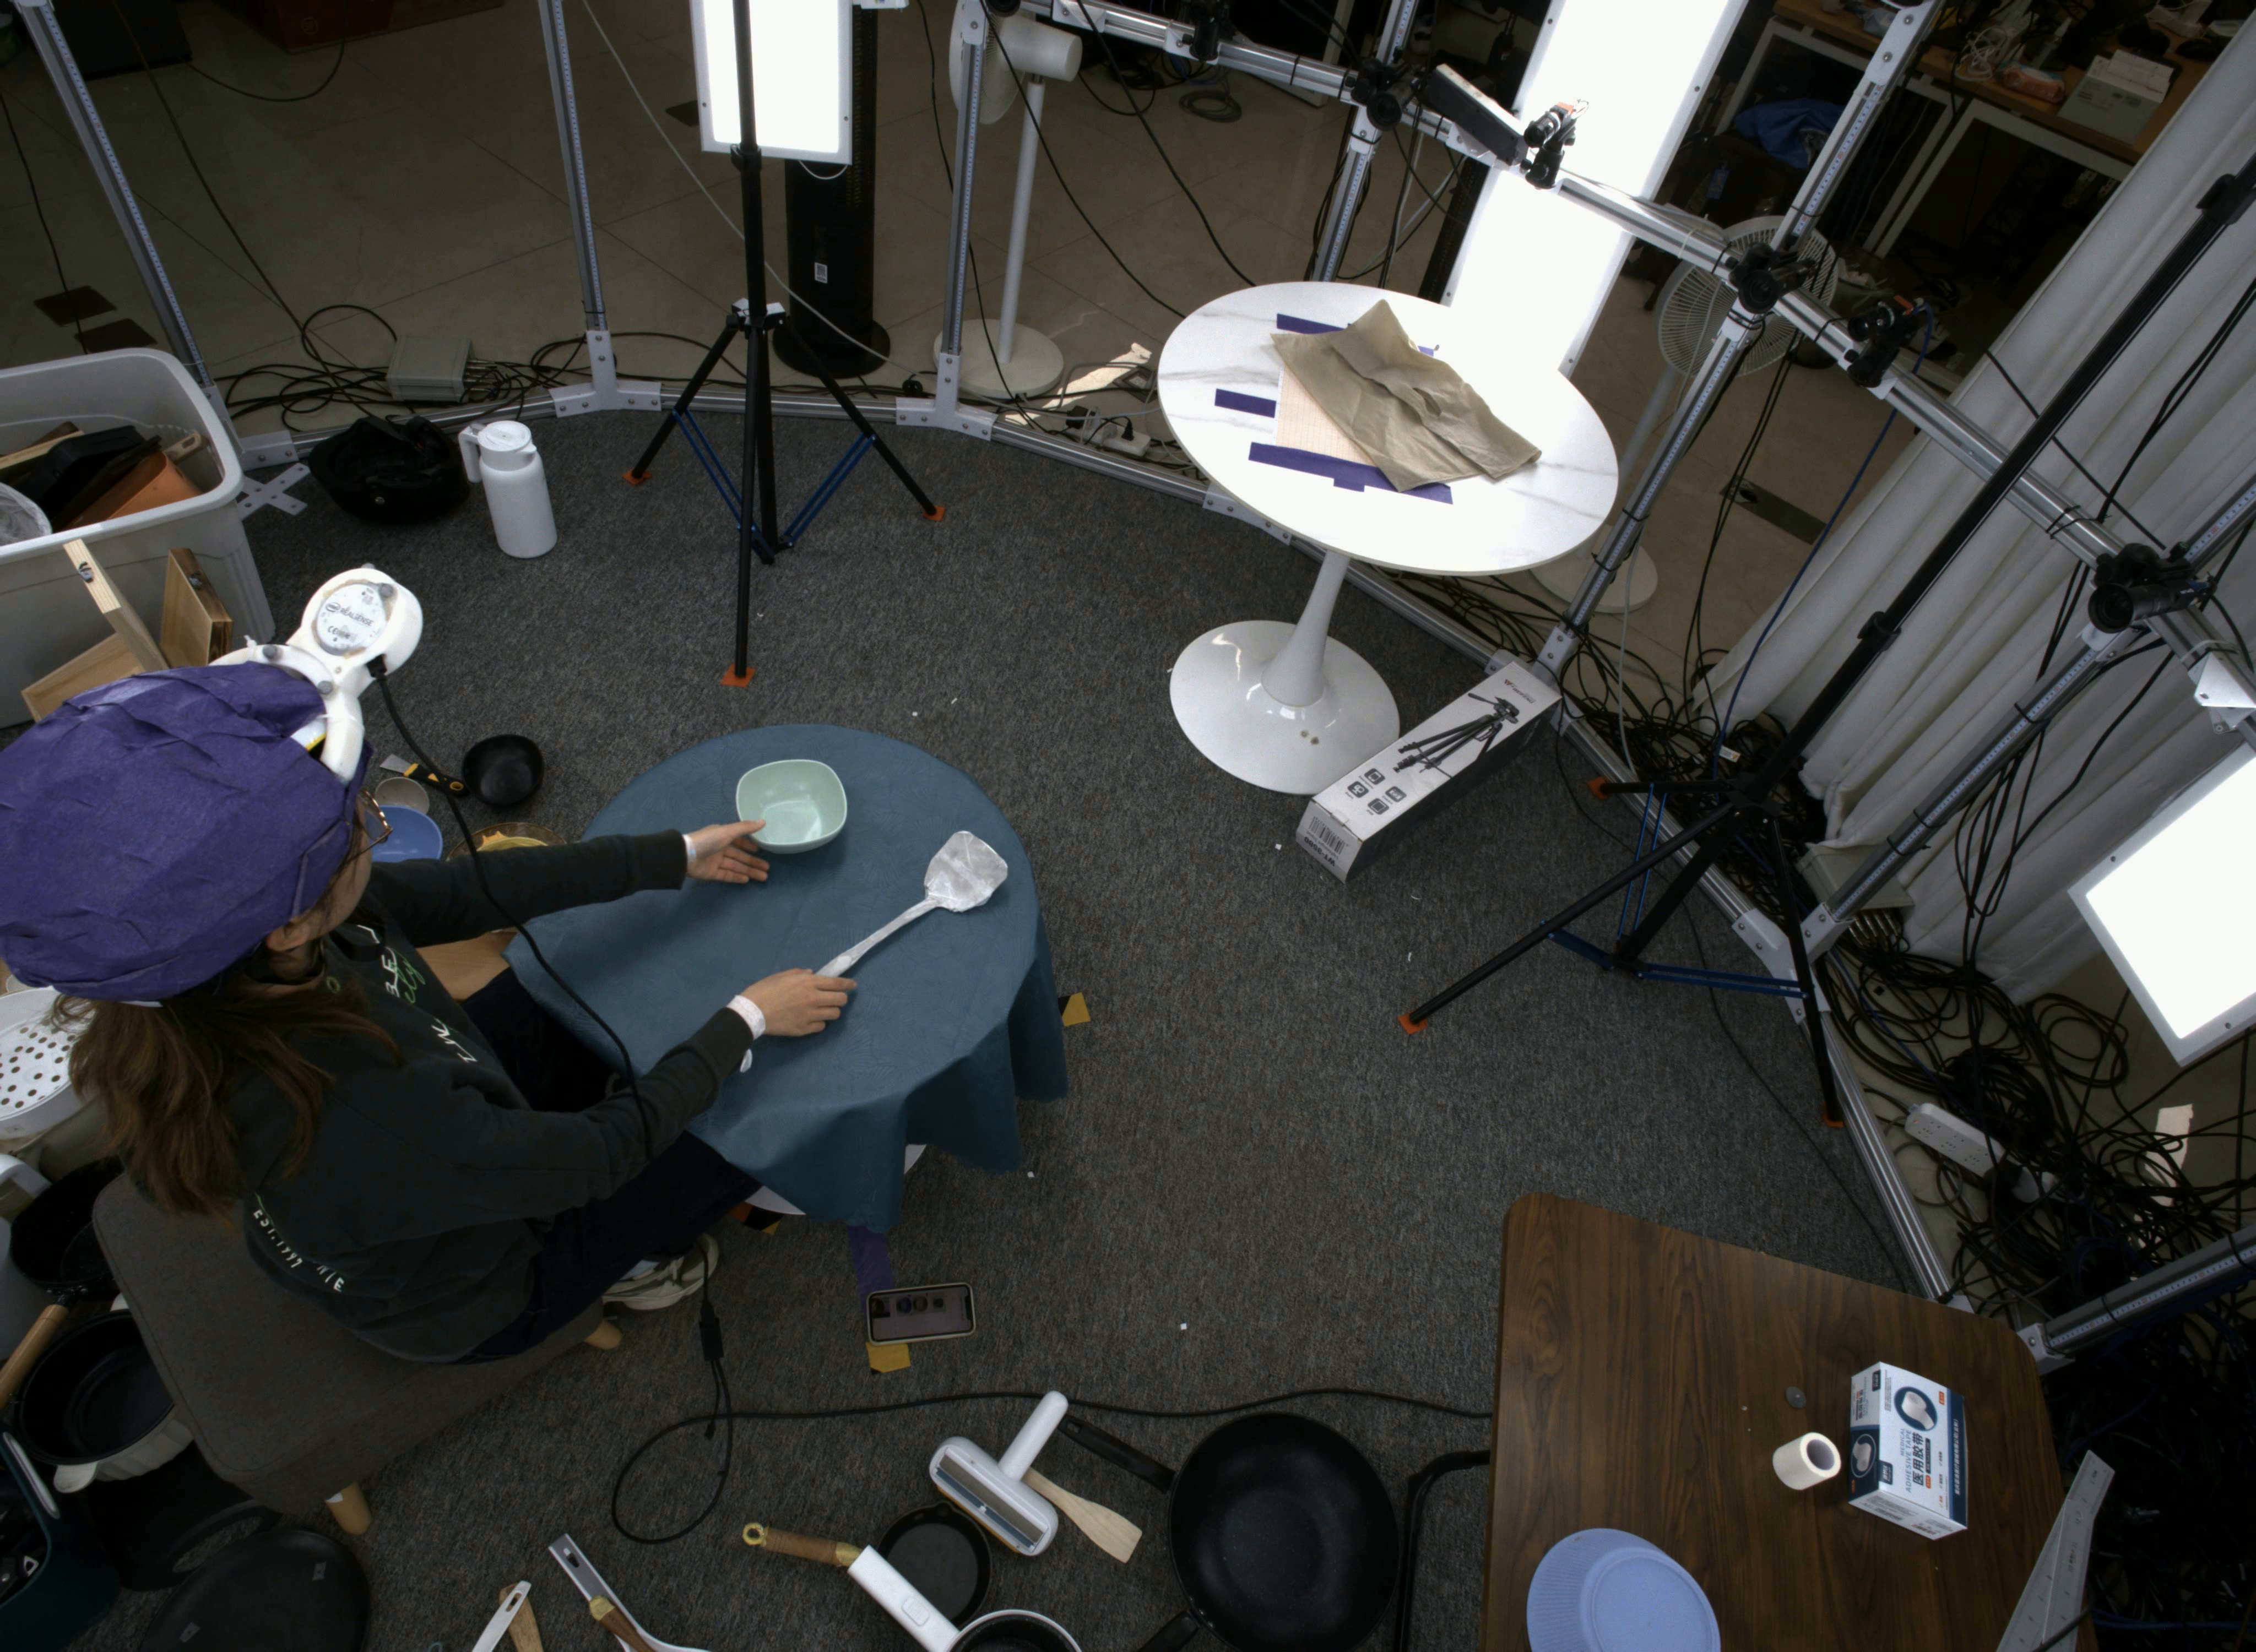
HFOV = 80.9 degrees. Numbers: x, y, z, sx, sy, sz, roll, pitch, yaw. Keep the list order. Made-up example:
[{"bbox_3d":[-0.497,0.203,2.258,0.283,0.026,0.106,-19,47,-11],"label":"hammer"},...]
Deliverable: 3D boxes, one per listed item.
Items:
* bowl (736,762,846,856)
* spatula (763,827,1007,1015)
[{"bbox_3d":[-0.441,-0.014,1.699,0.151,0.060,0.148,8,49,-8],"label":"bowl"},{"bbox_3d":[-0.308,0.126,1.640,0.097,0.045,0.365,42,55,16],"label":"spatula"}]
